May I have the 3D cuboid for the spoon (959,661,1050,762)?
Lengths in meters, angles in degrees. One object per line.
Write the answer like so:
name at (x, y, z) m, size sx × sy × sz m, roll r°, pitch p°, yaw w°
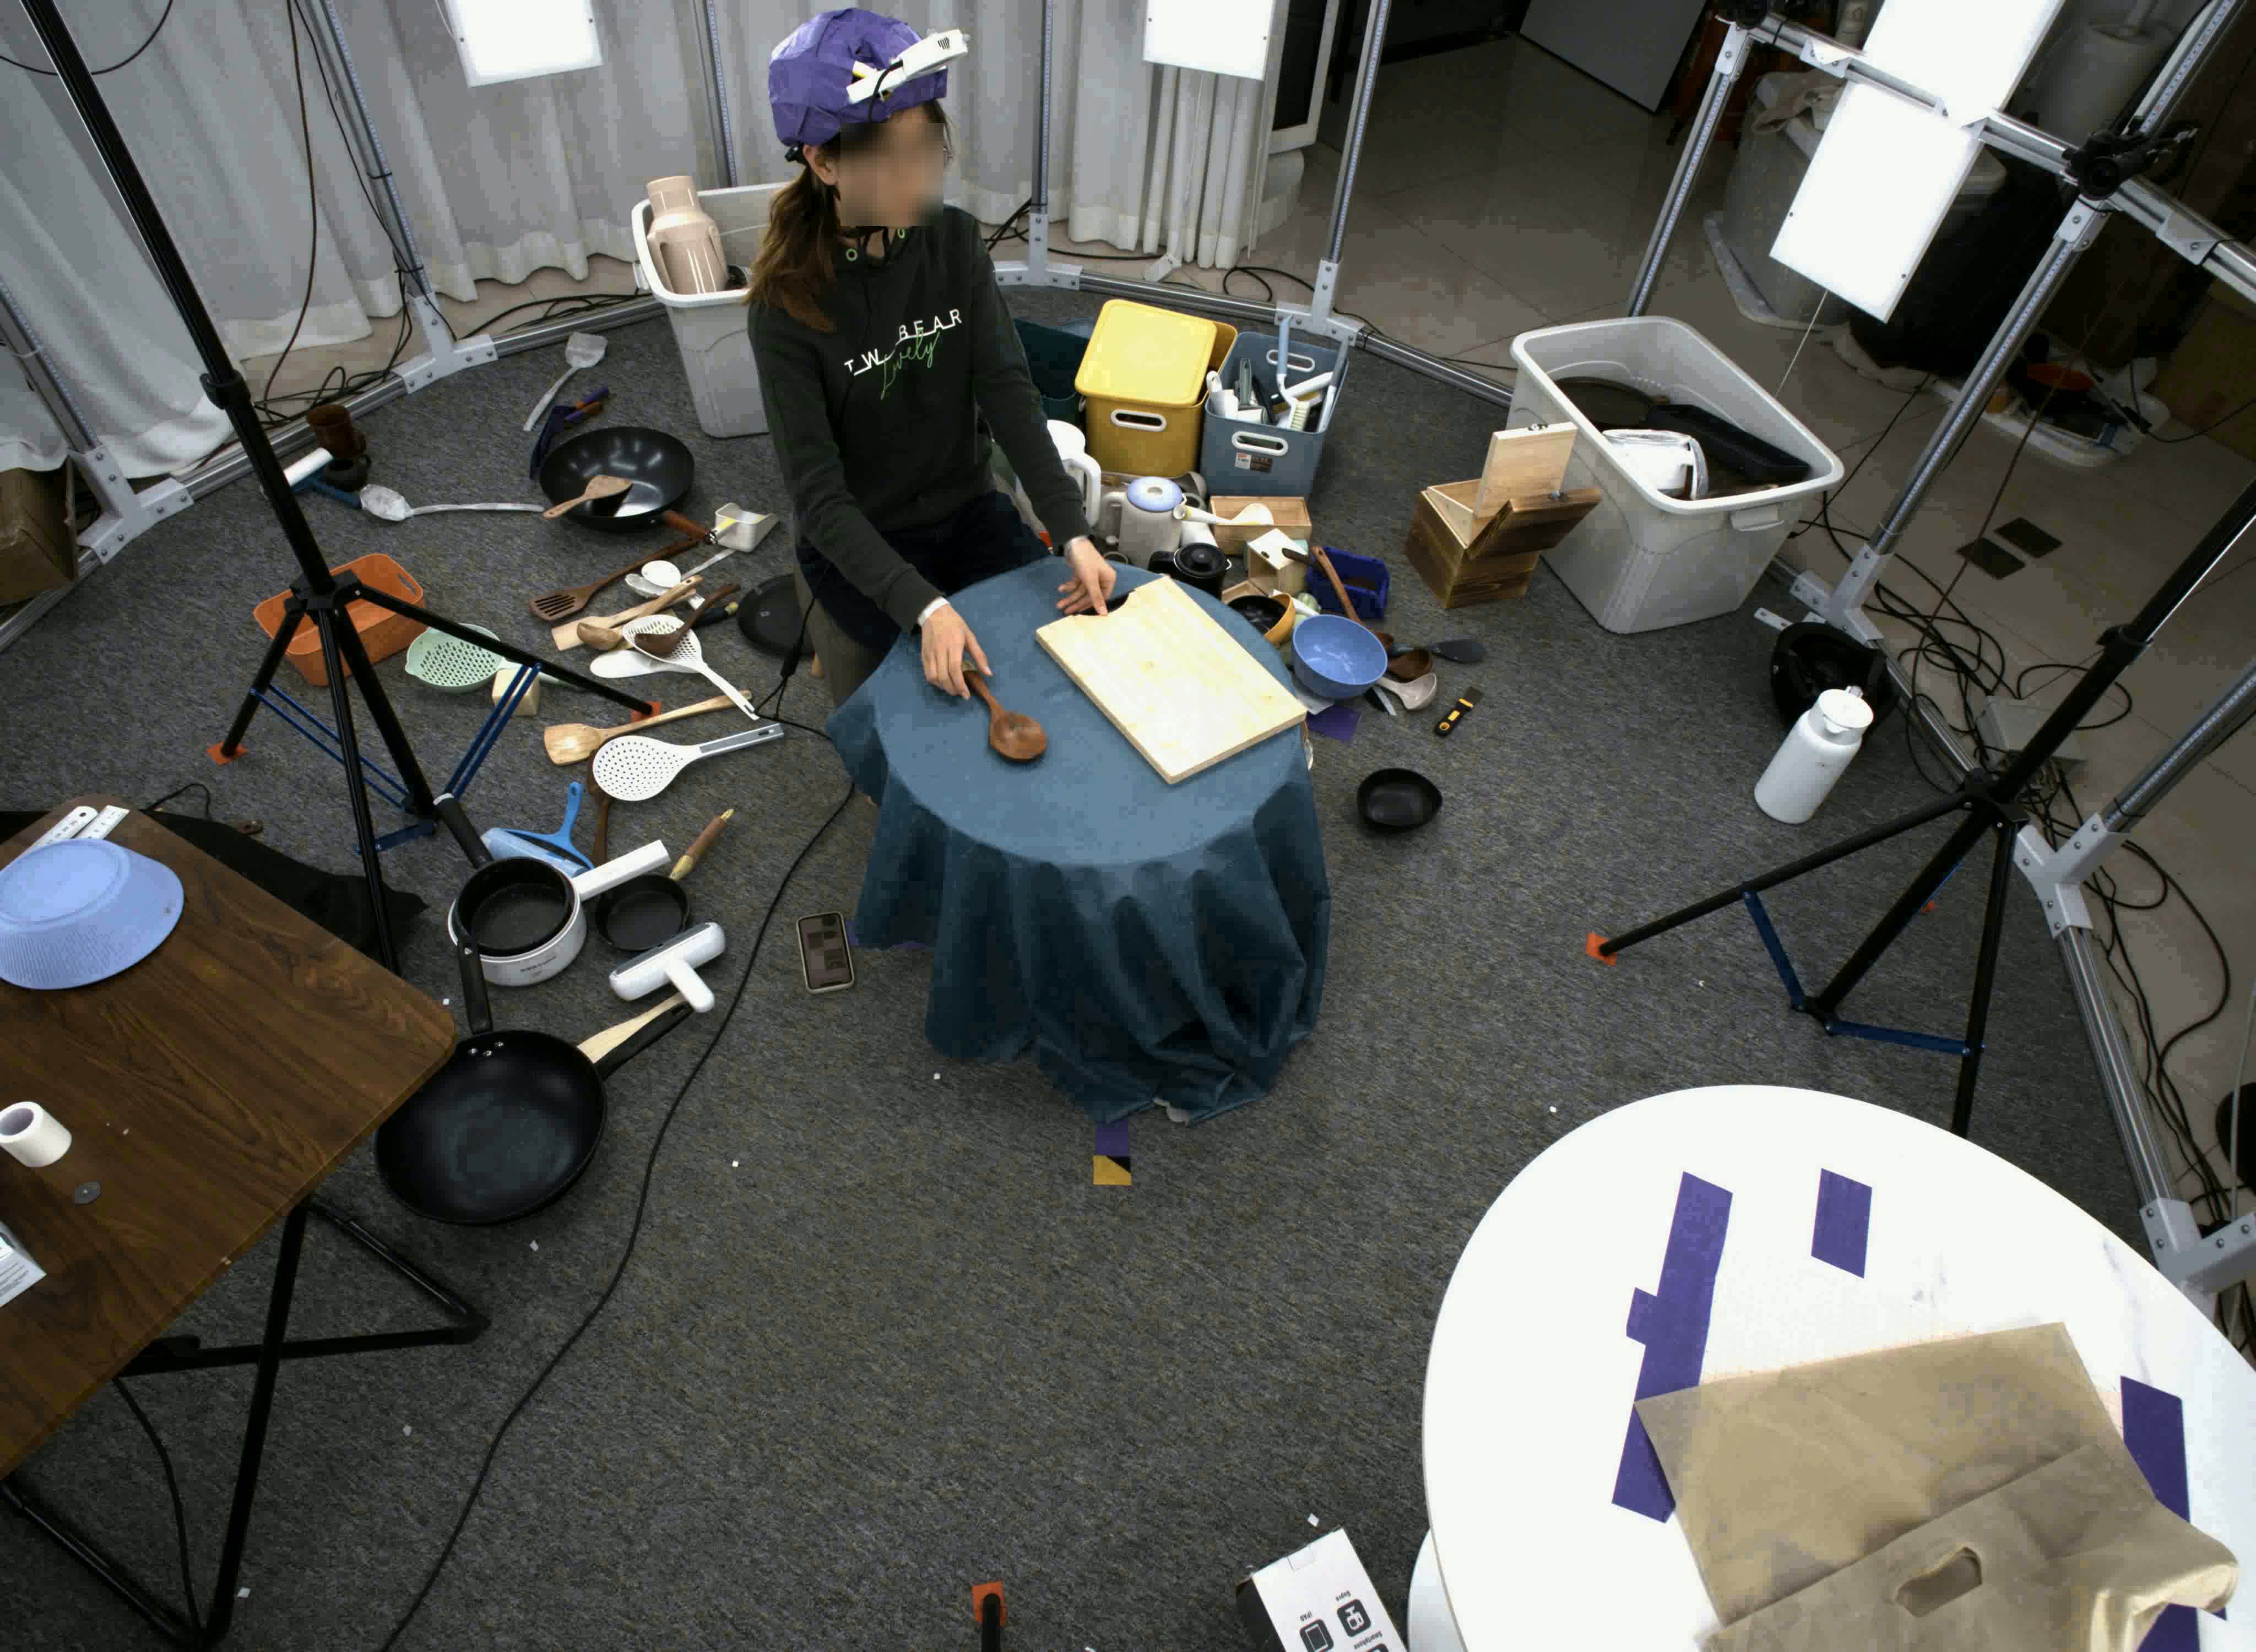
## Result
spoon at (-0.180, -0.162, 1.802) m, size 0.076 × 0.017 × 0.220 m, roll -23°, pitch 55°, yaw -20°

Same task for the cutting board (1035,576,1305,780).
cutting board at (0.056, -0.224, 1.873) m, size 0.252 × 0.023 × 0.355 m, roll -26°, pitch 55°, yaw -25°
